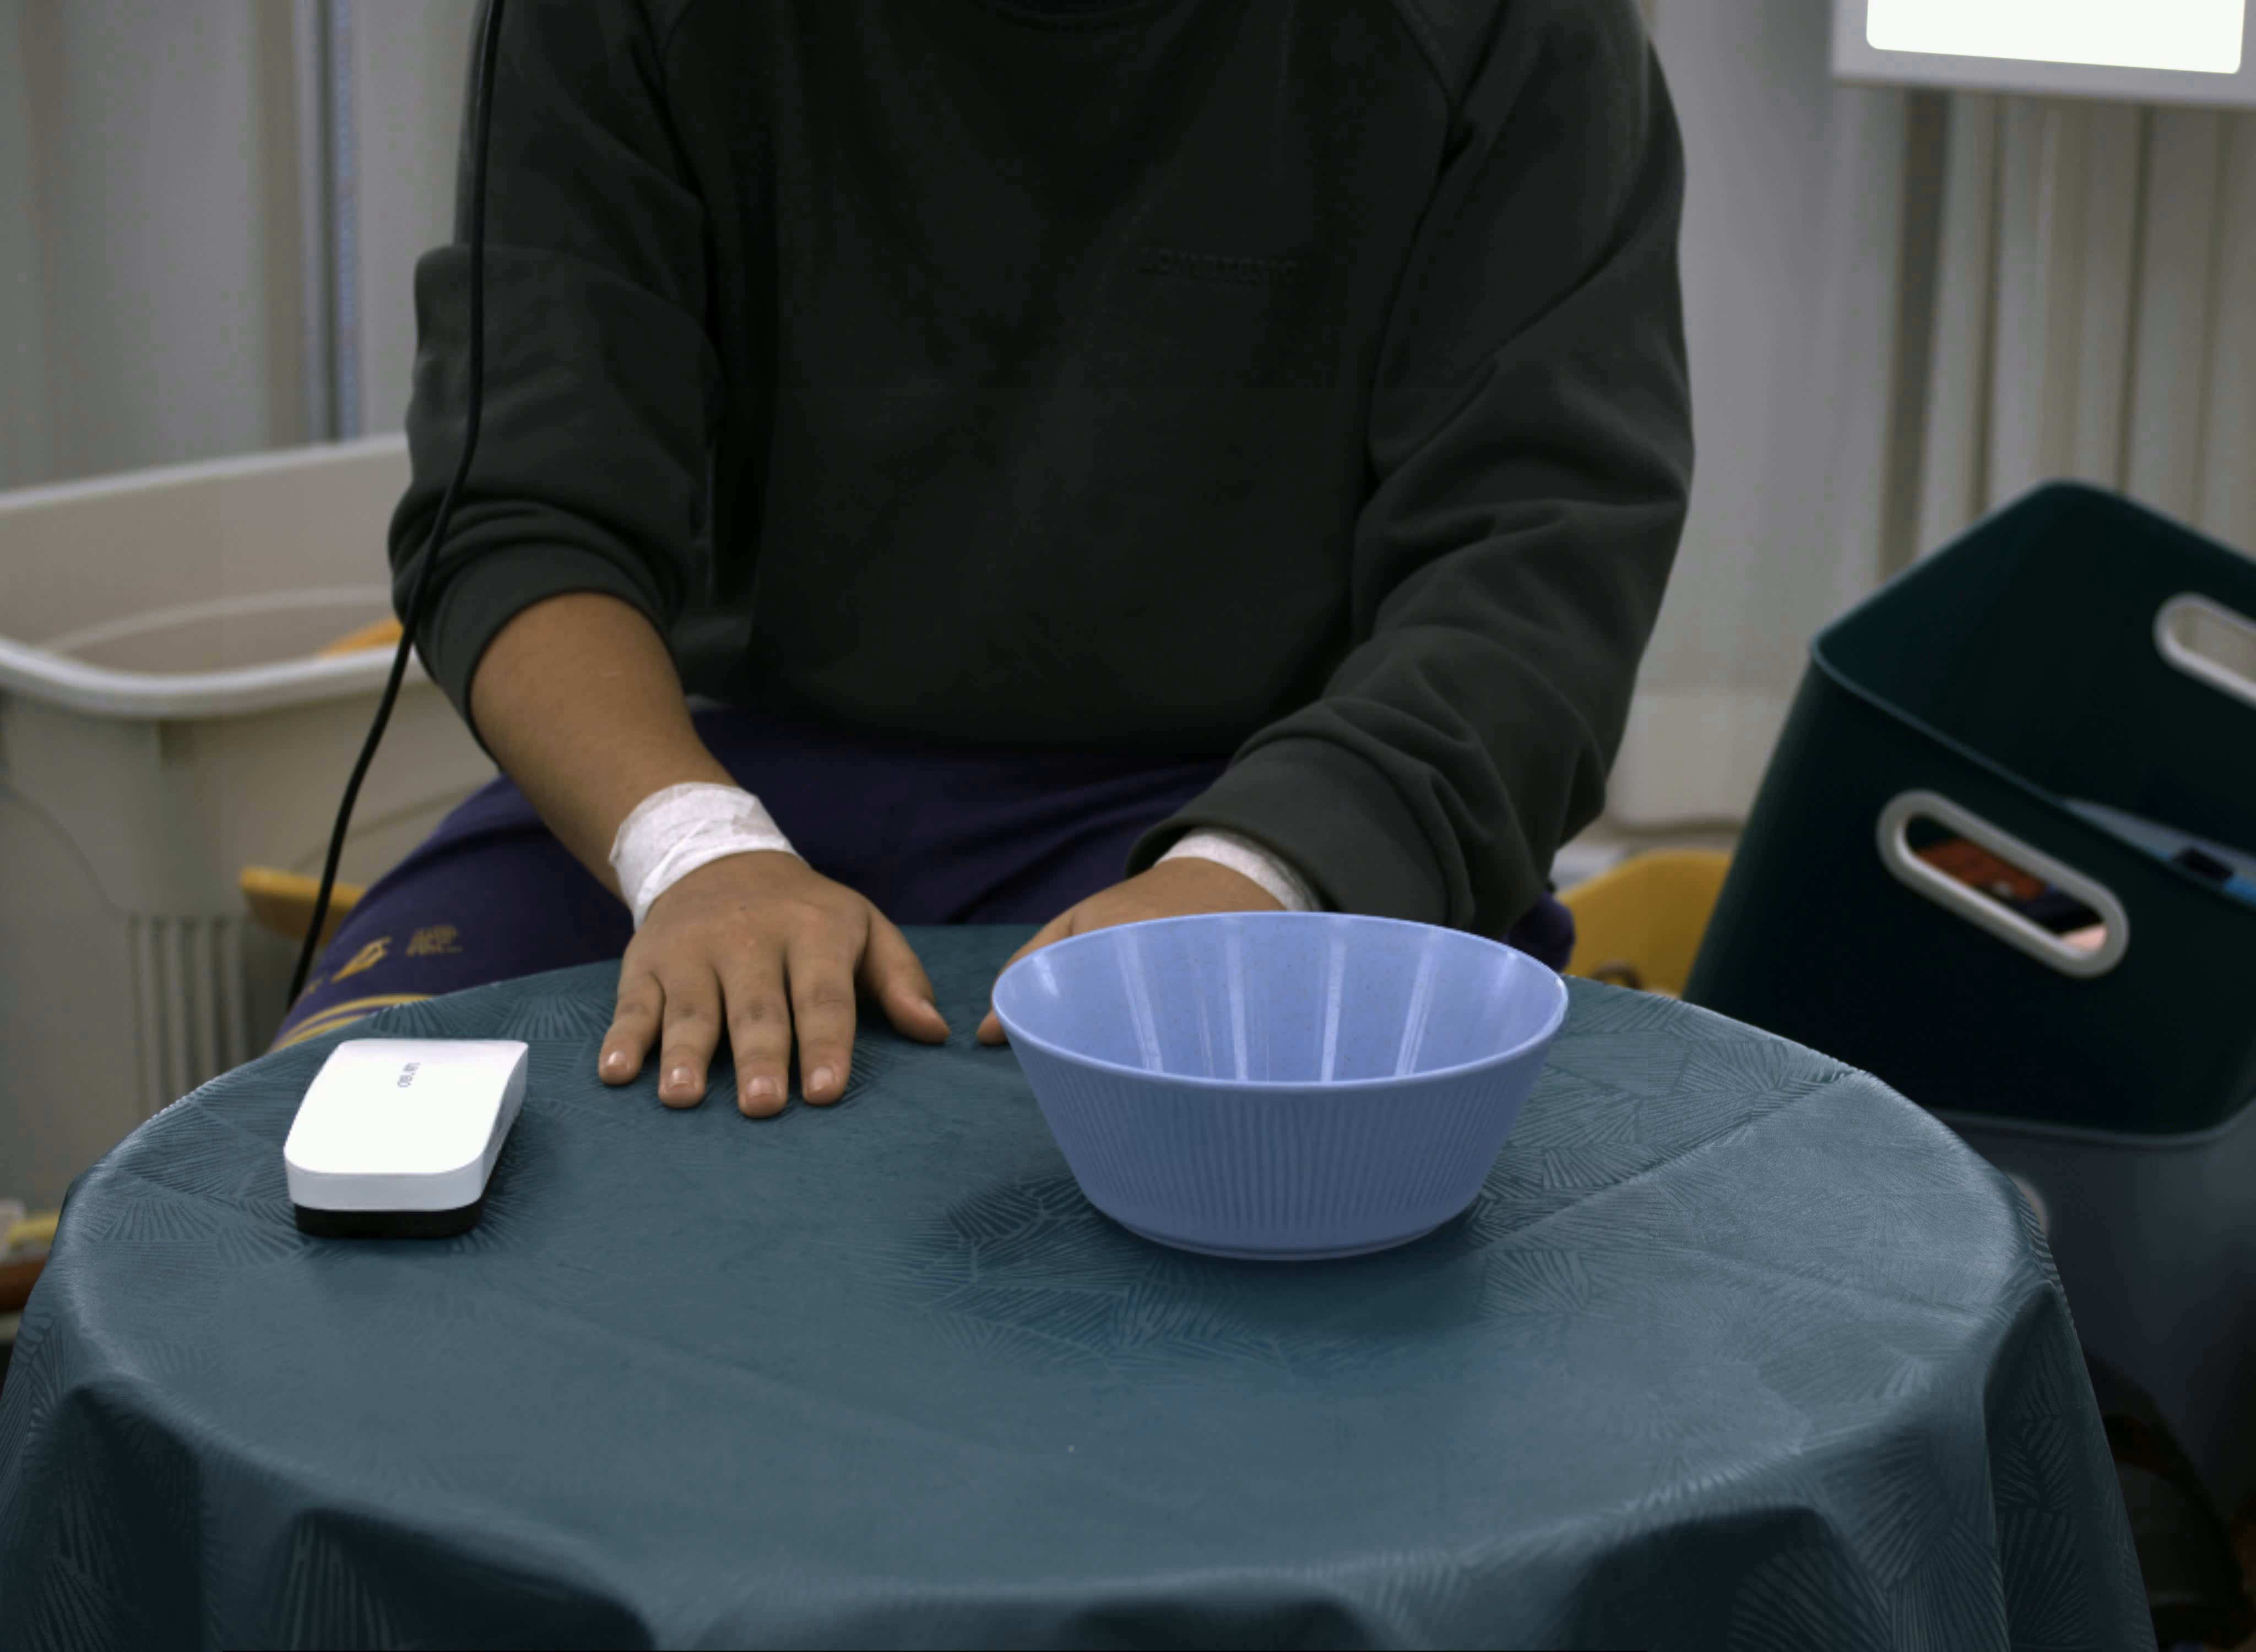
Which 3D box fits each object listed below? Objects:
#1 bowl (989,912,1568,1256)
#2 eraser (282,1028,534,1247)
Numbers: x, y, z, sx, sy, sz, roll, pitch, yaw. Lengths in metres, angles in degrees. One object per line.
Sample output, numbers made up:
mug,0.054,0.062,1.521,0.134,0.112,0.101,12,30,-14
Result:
bowl,0.045,0.081,1.604,0.175,0.071,0.175,1,16,0
eraser,-0.220,0.092,1.629,0.063,0.035,0.130,3,18,2
